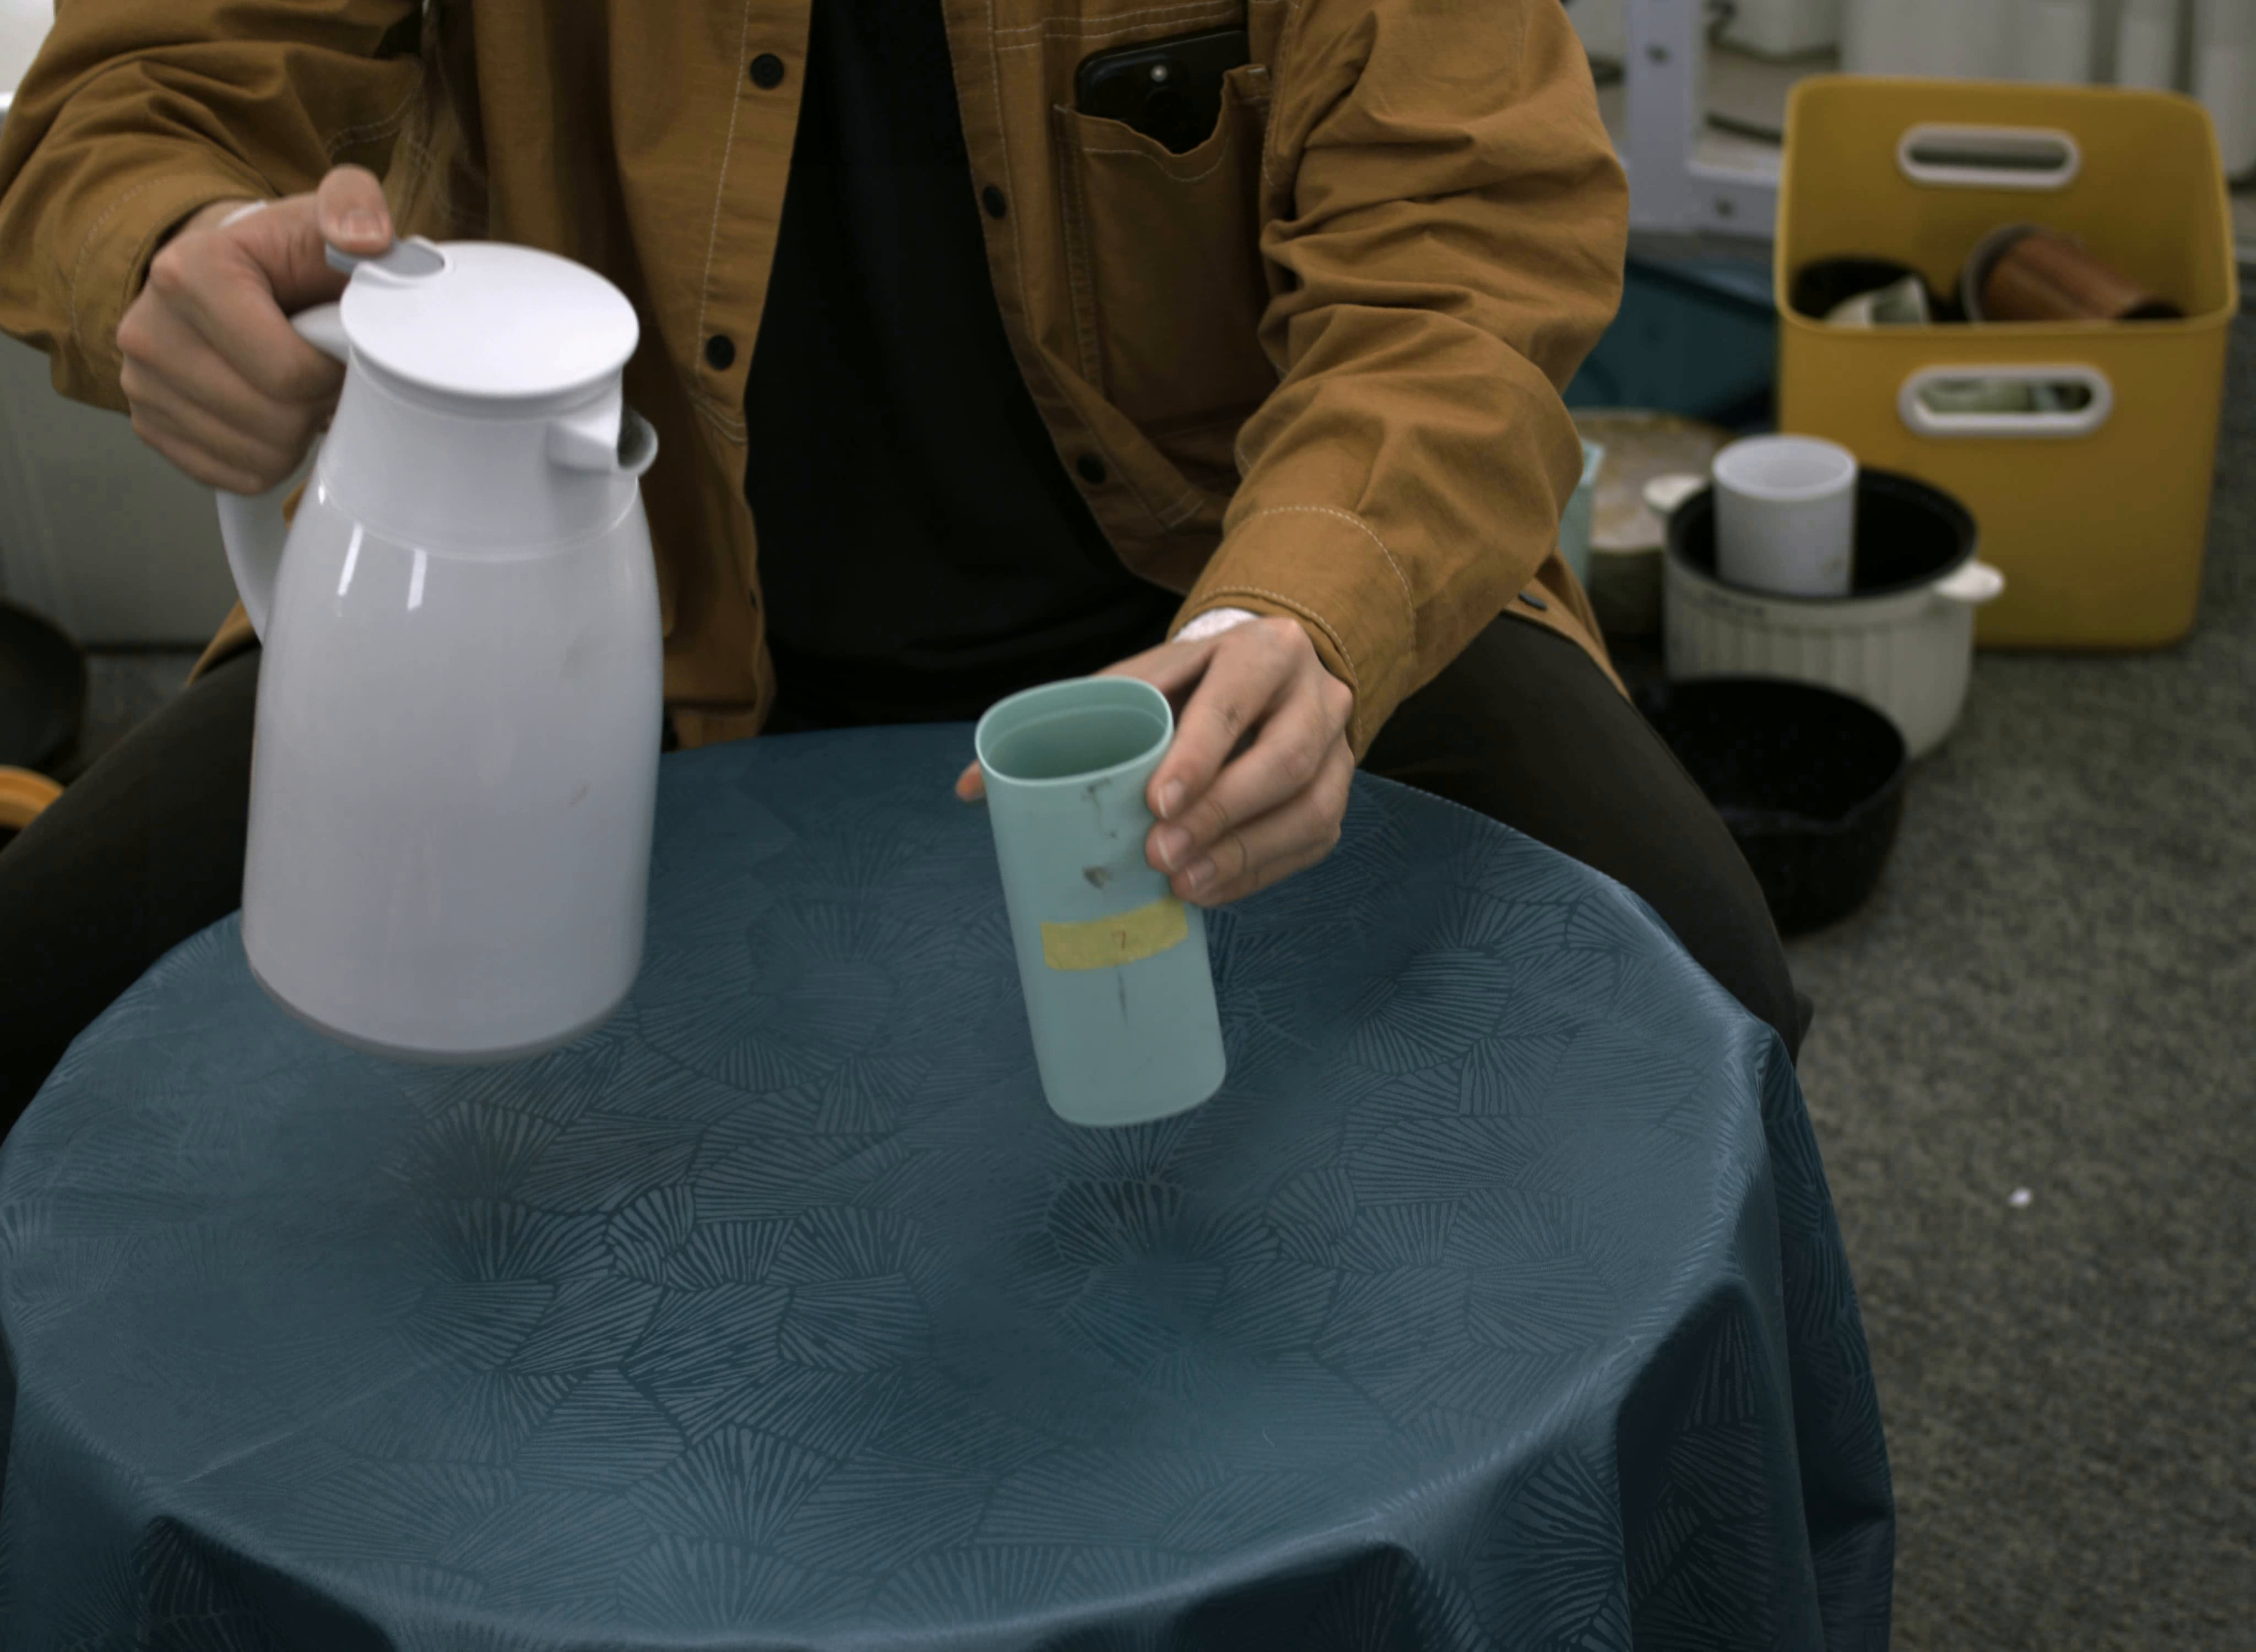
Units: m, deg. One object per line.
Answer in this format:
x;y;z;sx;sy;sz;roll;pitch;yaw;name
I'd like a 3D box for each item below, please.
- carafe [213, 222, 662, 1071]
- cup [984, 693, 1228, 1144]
-0.226;-0.067;1.790;0.167;0.245;0.134;26;36;26;carafe
-0.006;0.029;1.788;0.066;0.131;0.068;-6;29;4;cup
